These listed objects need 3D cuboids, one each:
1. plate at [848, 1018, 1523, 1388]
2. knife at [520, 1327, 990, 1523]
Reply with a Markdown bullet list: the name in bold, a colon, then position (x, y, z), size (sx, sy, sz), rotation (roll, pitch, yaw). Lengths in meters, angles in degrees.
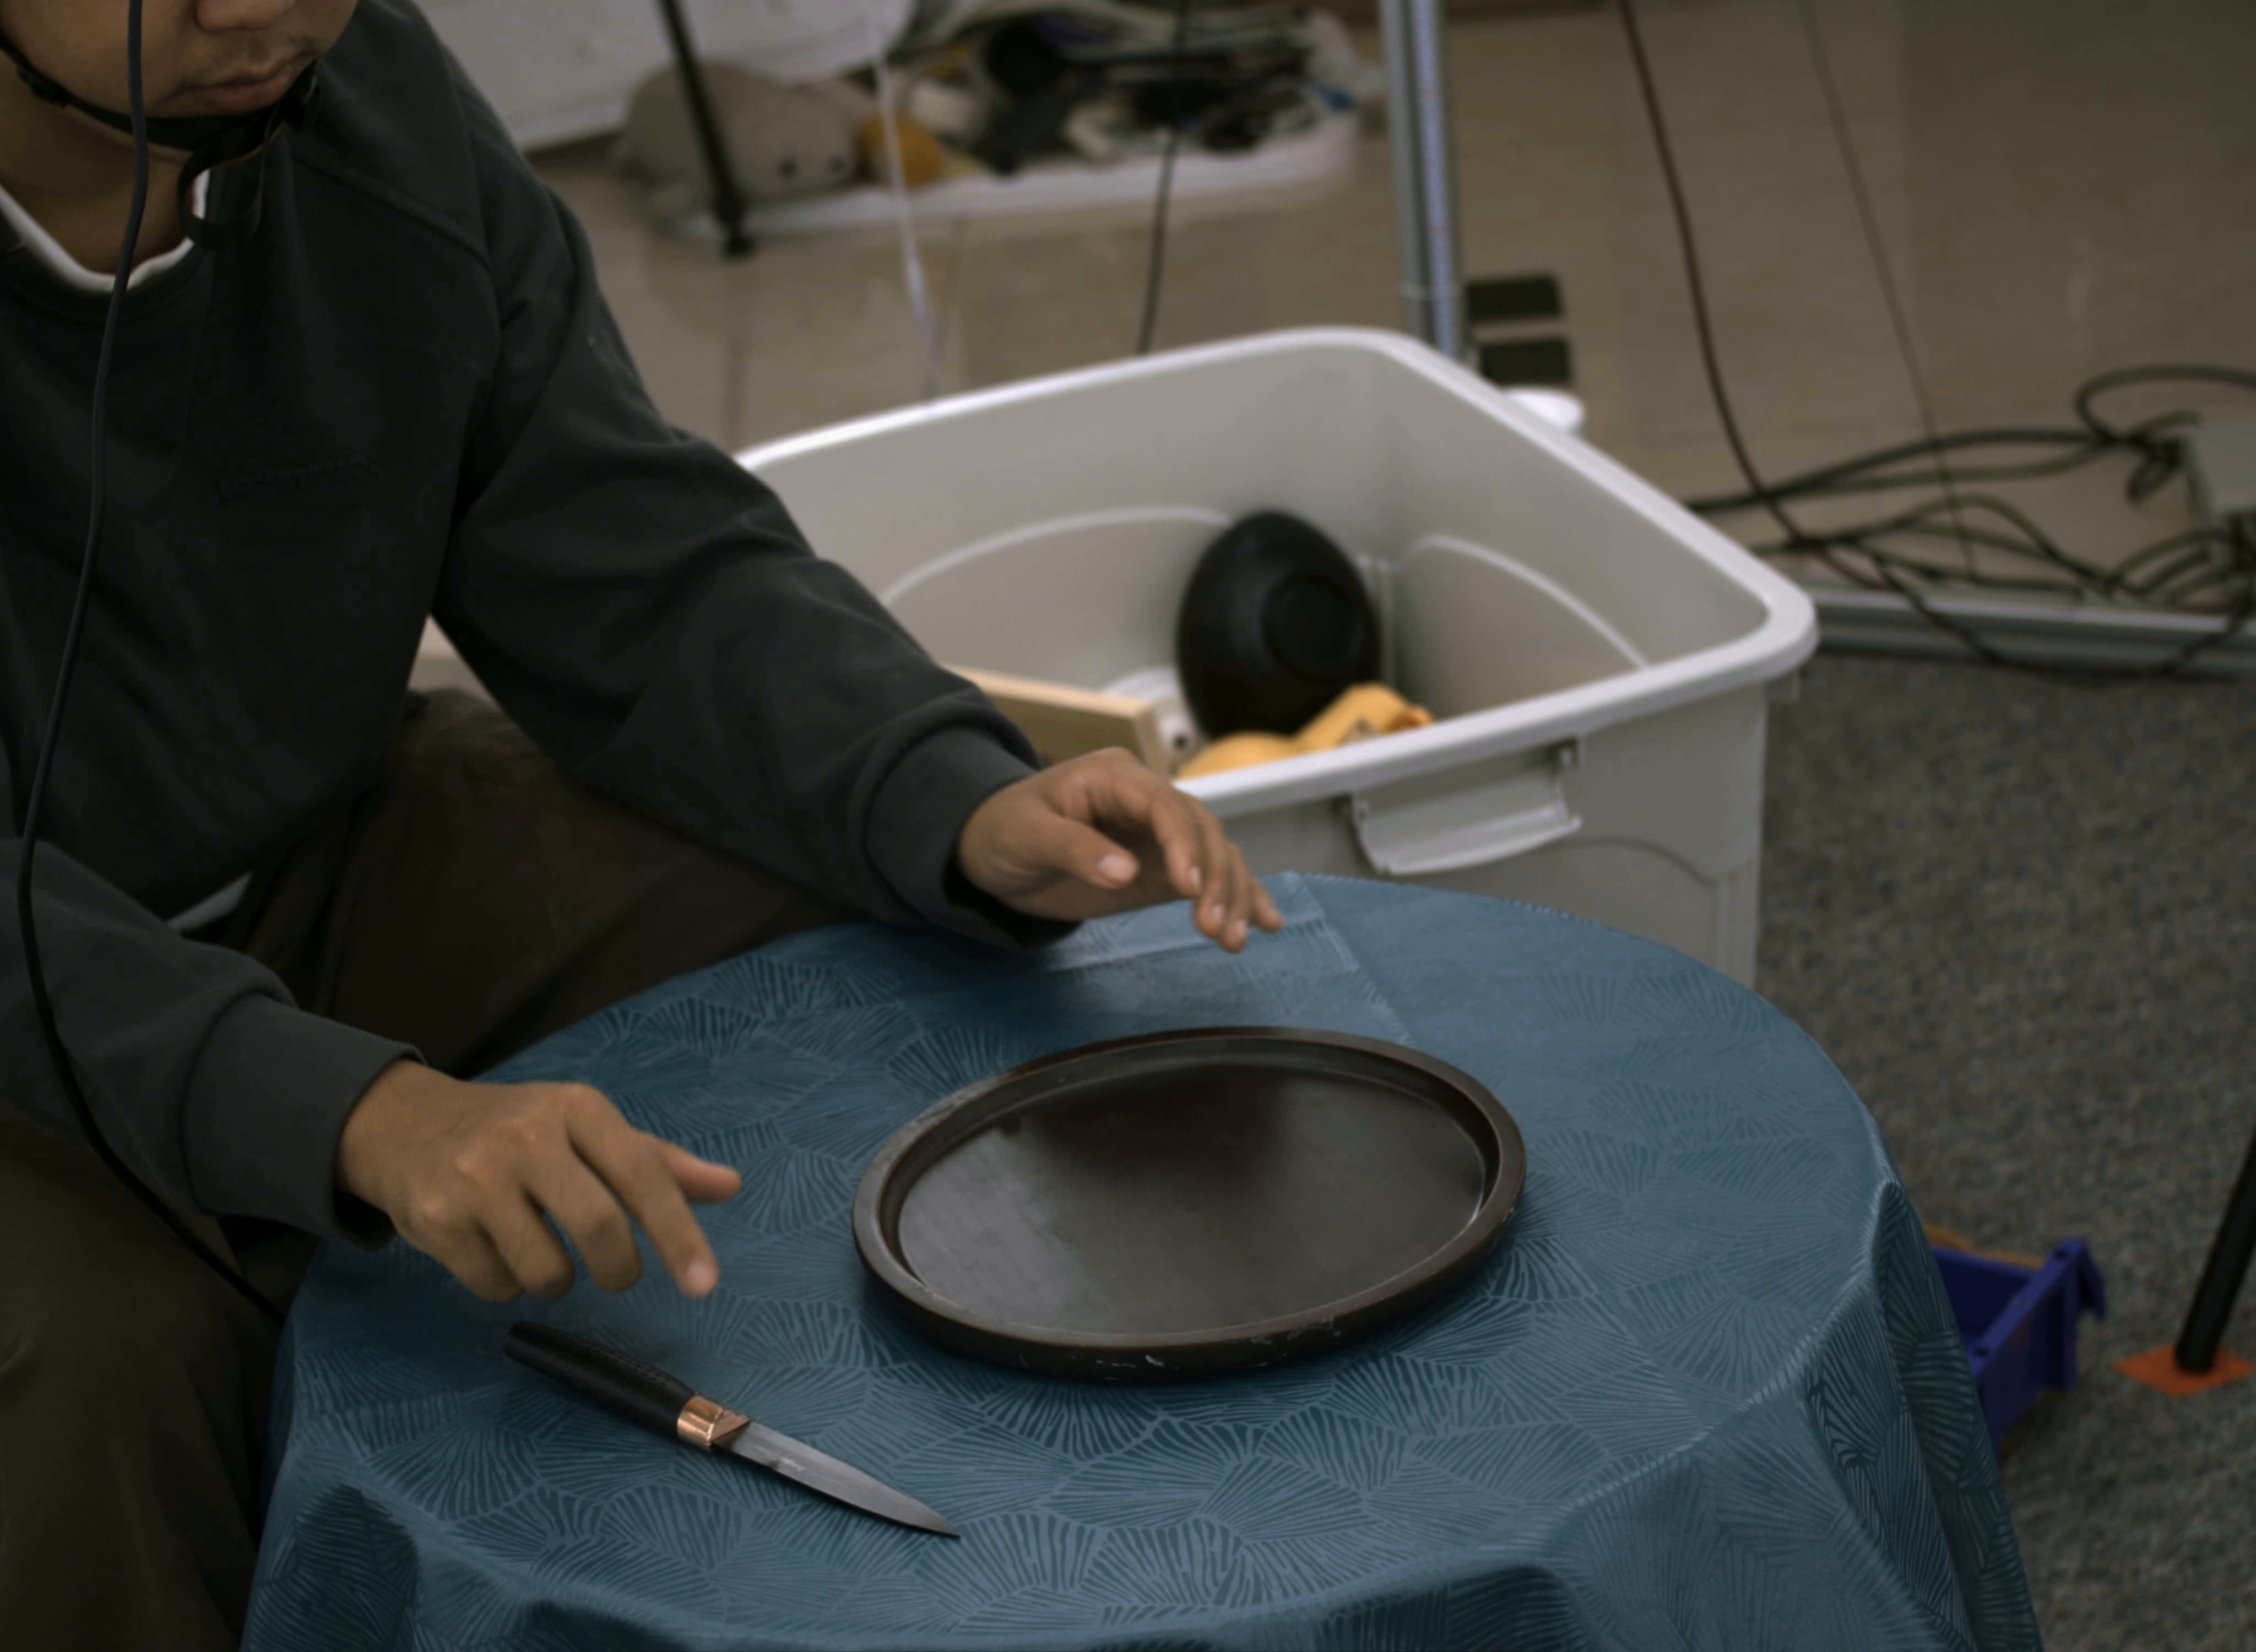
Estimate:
- **plate**: position (0.022, 0.139, 2.115), size (0.254, 0.029, 0.251), rotation (-7, 25, 3)
- **knife**: position (-0.134, 0.214, 2.006), size (0.224, 0.017, 0.026), rotation (17, 29, 39)
